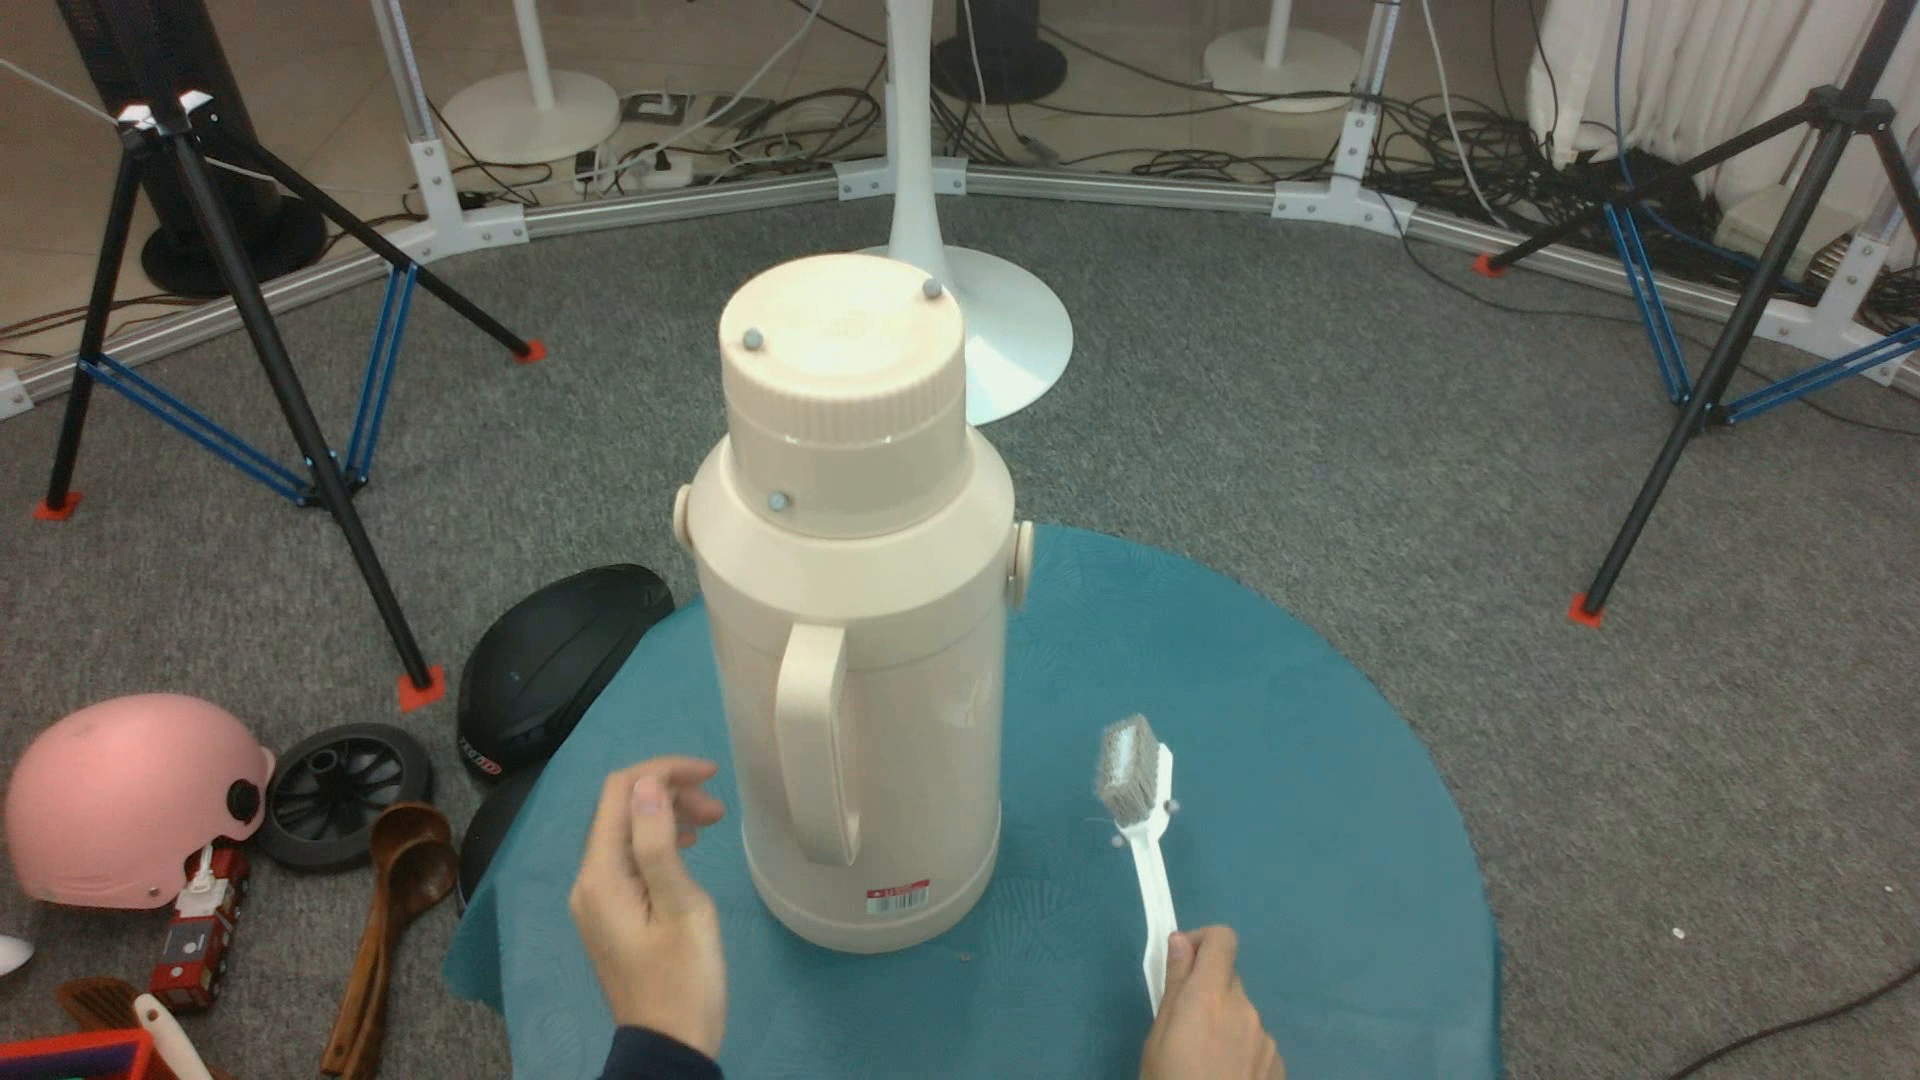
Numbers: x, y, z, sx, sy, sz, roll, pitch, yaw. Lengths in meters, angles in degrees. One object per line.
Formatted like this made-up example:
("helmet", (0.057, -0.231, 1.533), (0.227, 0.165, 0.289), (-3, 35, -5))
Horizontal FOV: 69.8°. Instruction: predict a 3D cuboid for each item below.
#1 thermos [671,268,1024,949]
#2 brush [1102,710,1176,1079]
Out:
("thermos", (-0.061, 0.062, 0.730), (0.175, 0.404, 0.208), (6, 45, 3))
("brush", (0.099, 0.202, 0.774), (0.034, 0.050, 0.245), (-13, 45, 23))
